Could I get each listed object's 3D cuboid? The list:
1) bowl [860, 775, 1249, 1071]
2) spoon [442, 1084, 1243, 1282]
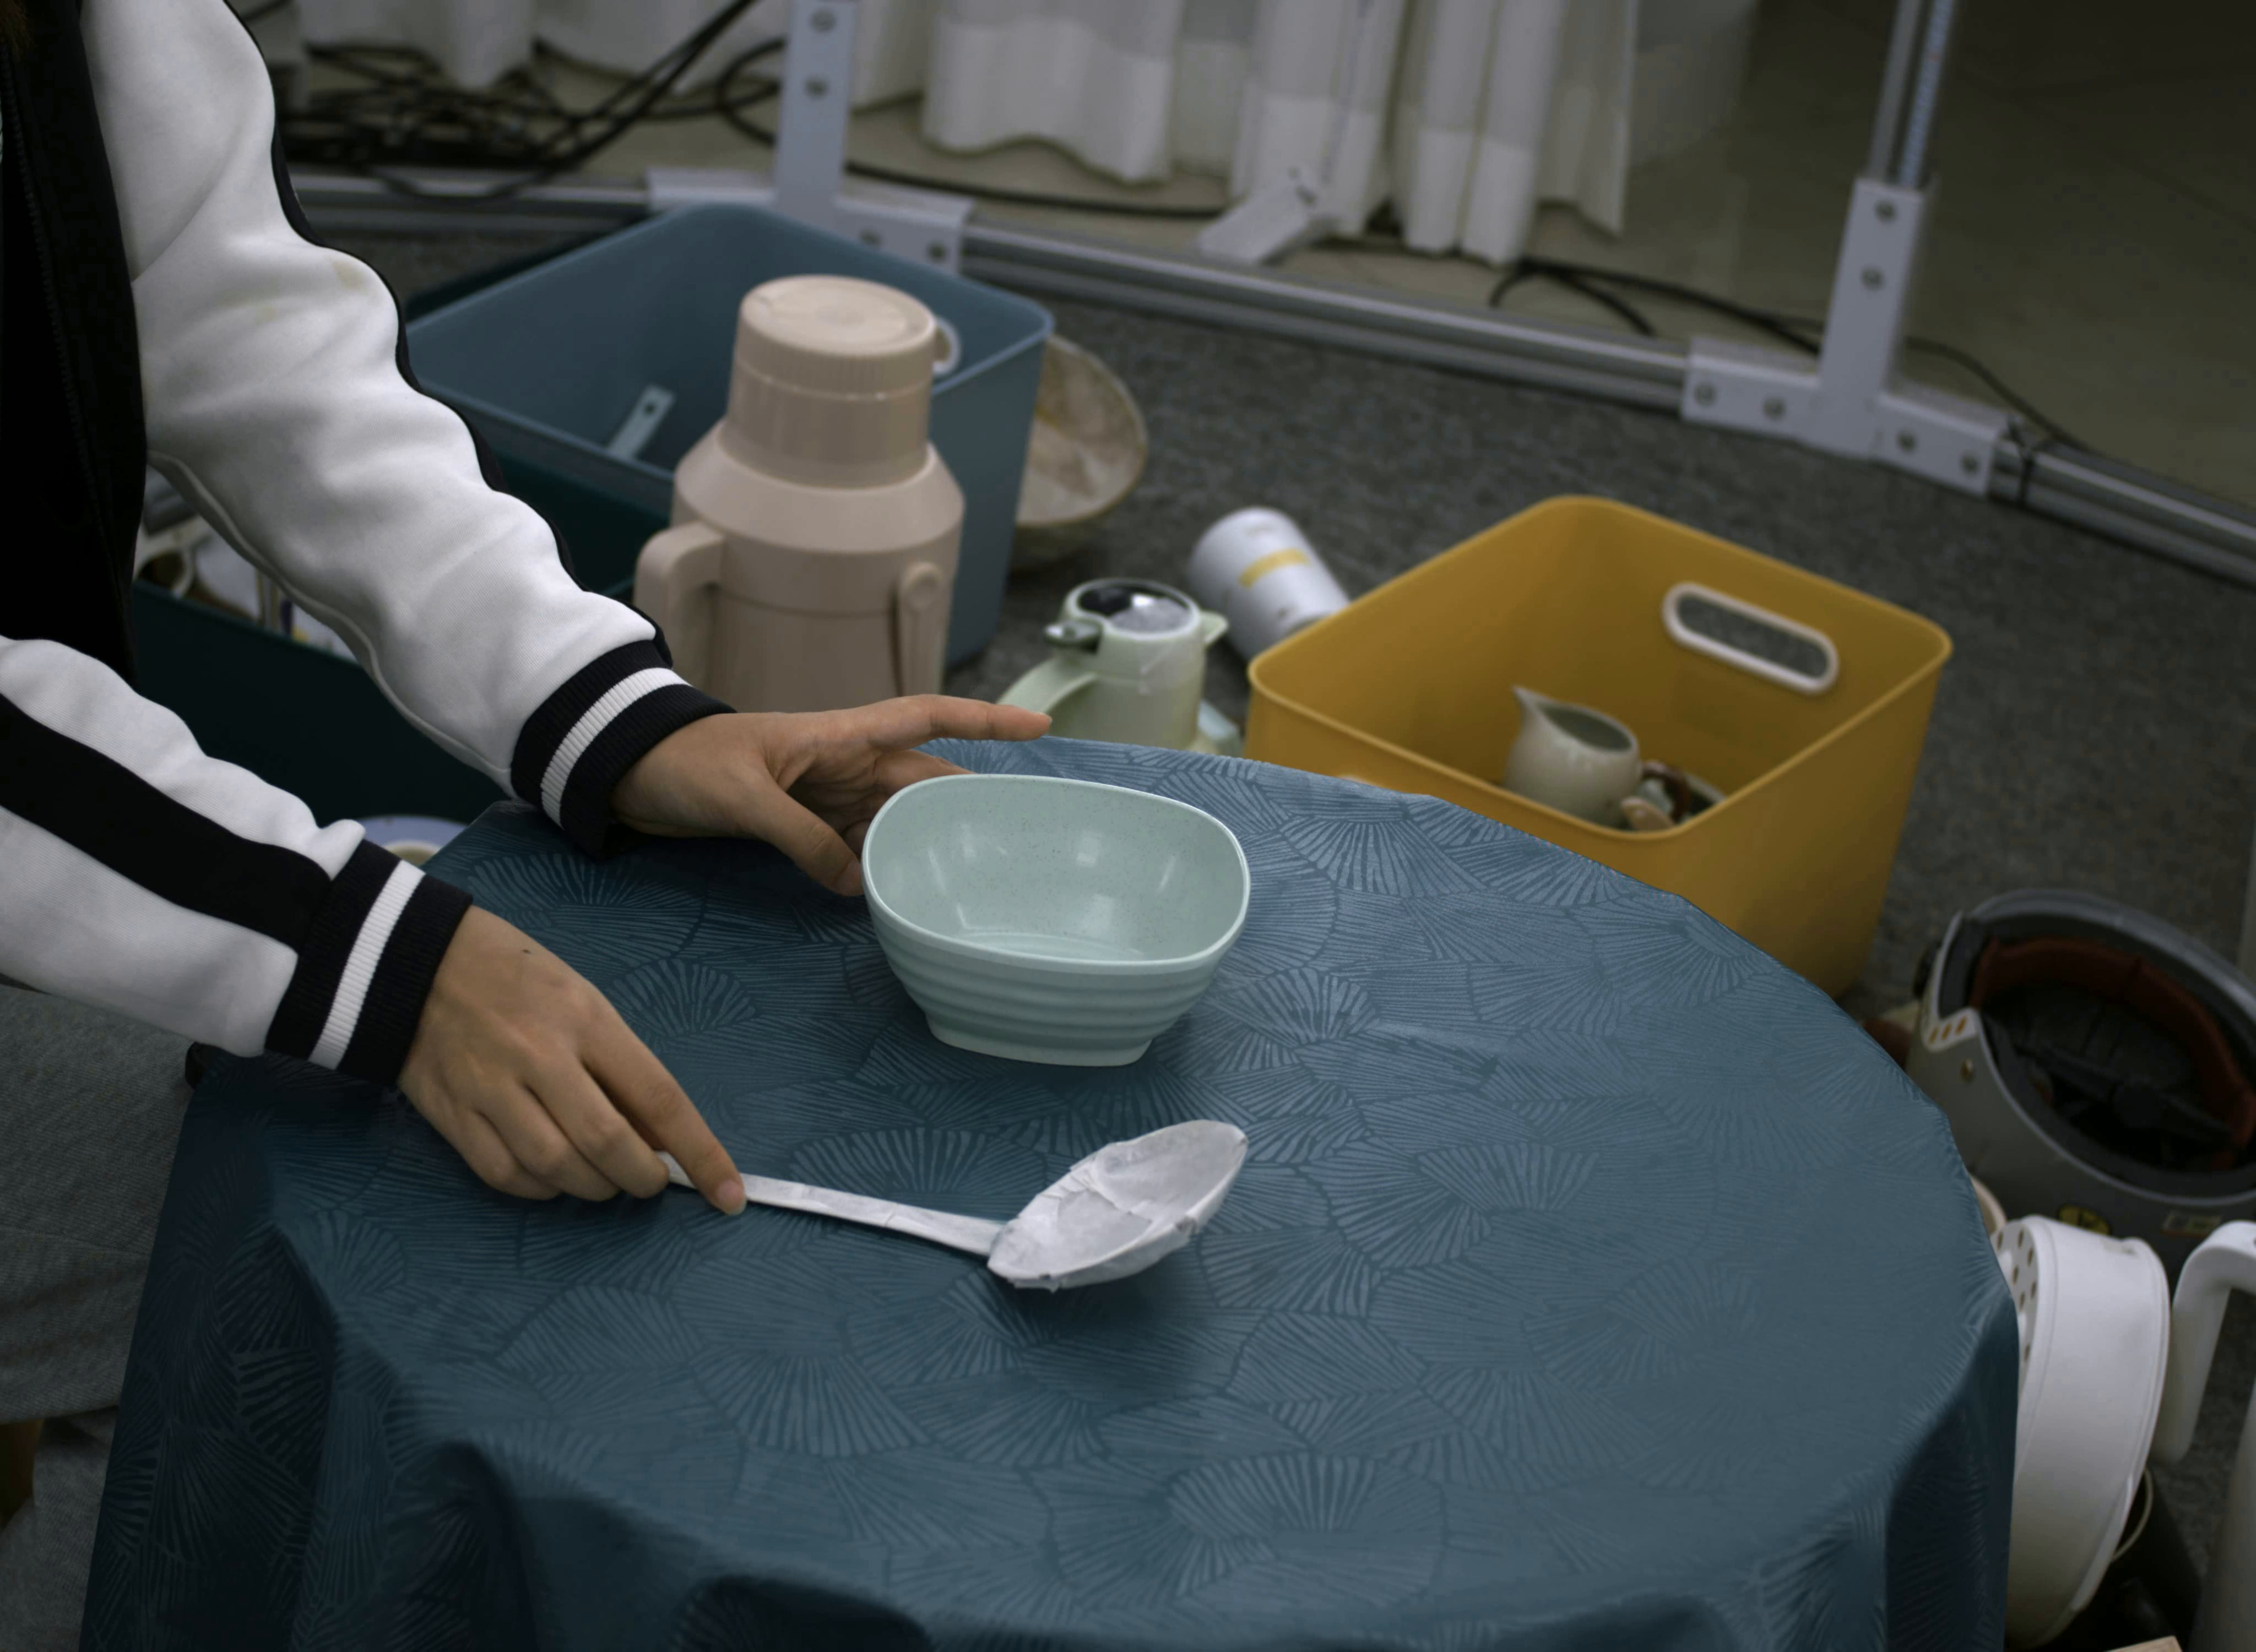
[{"bbox_3d":[-0.029,0.040,1.900,0.151,0.058,0.152,5,28,-3],"label":"bowl"},{"bbox_3d":[-0.097,0.099,1.767,0.278,0.059,0.101,14,23,14],"label":"spoon"}]
